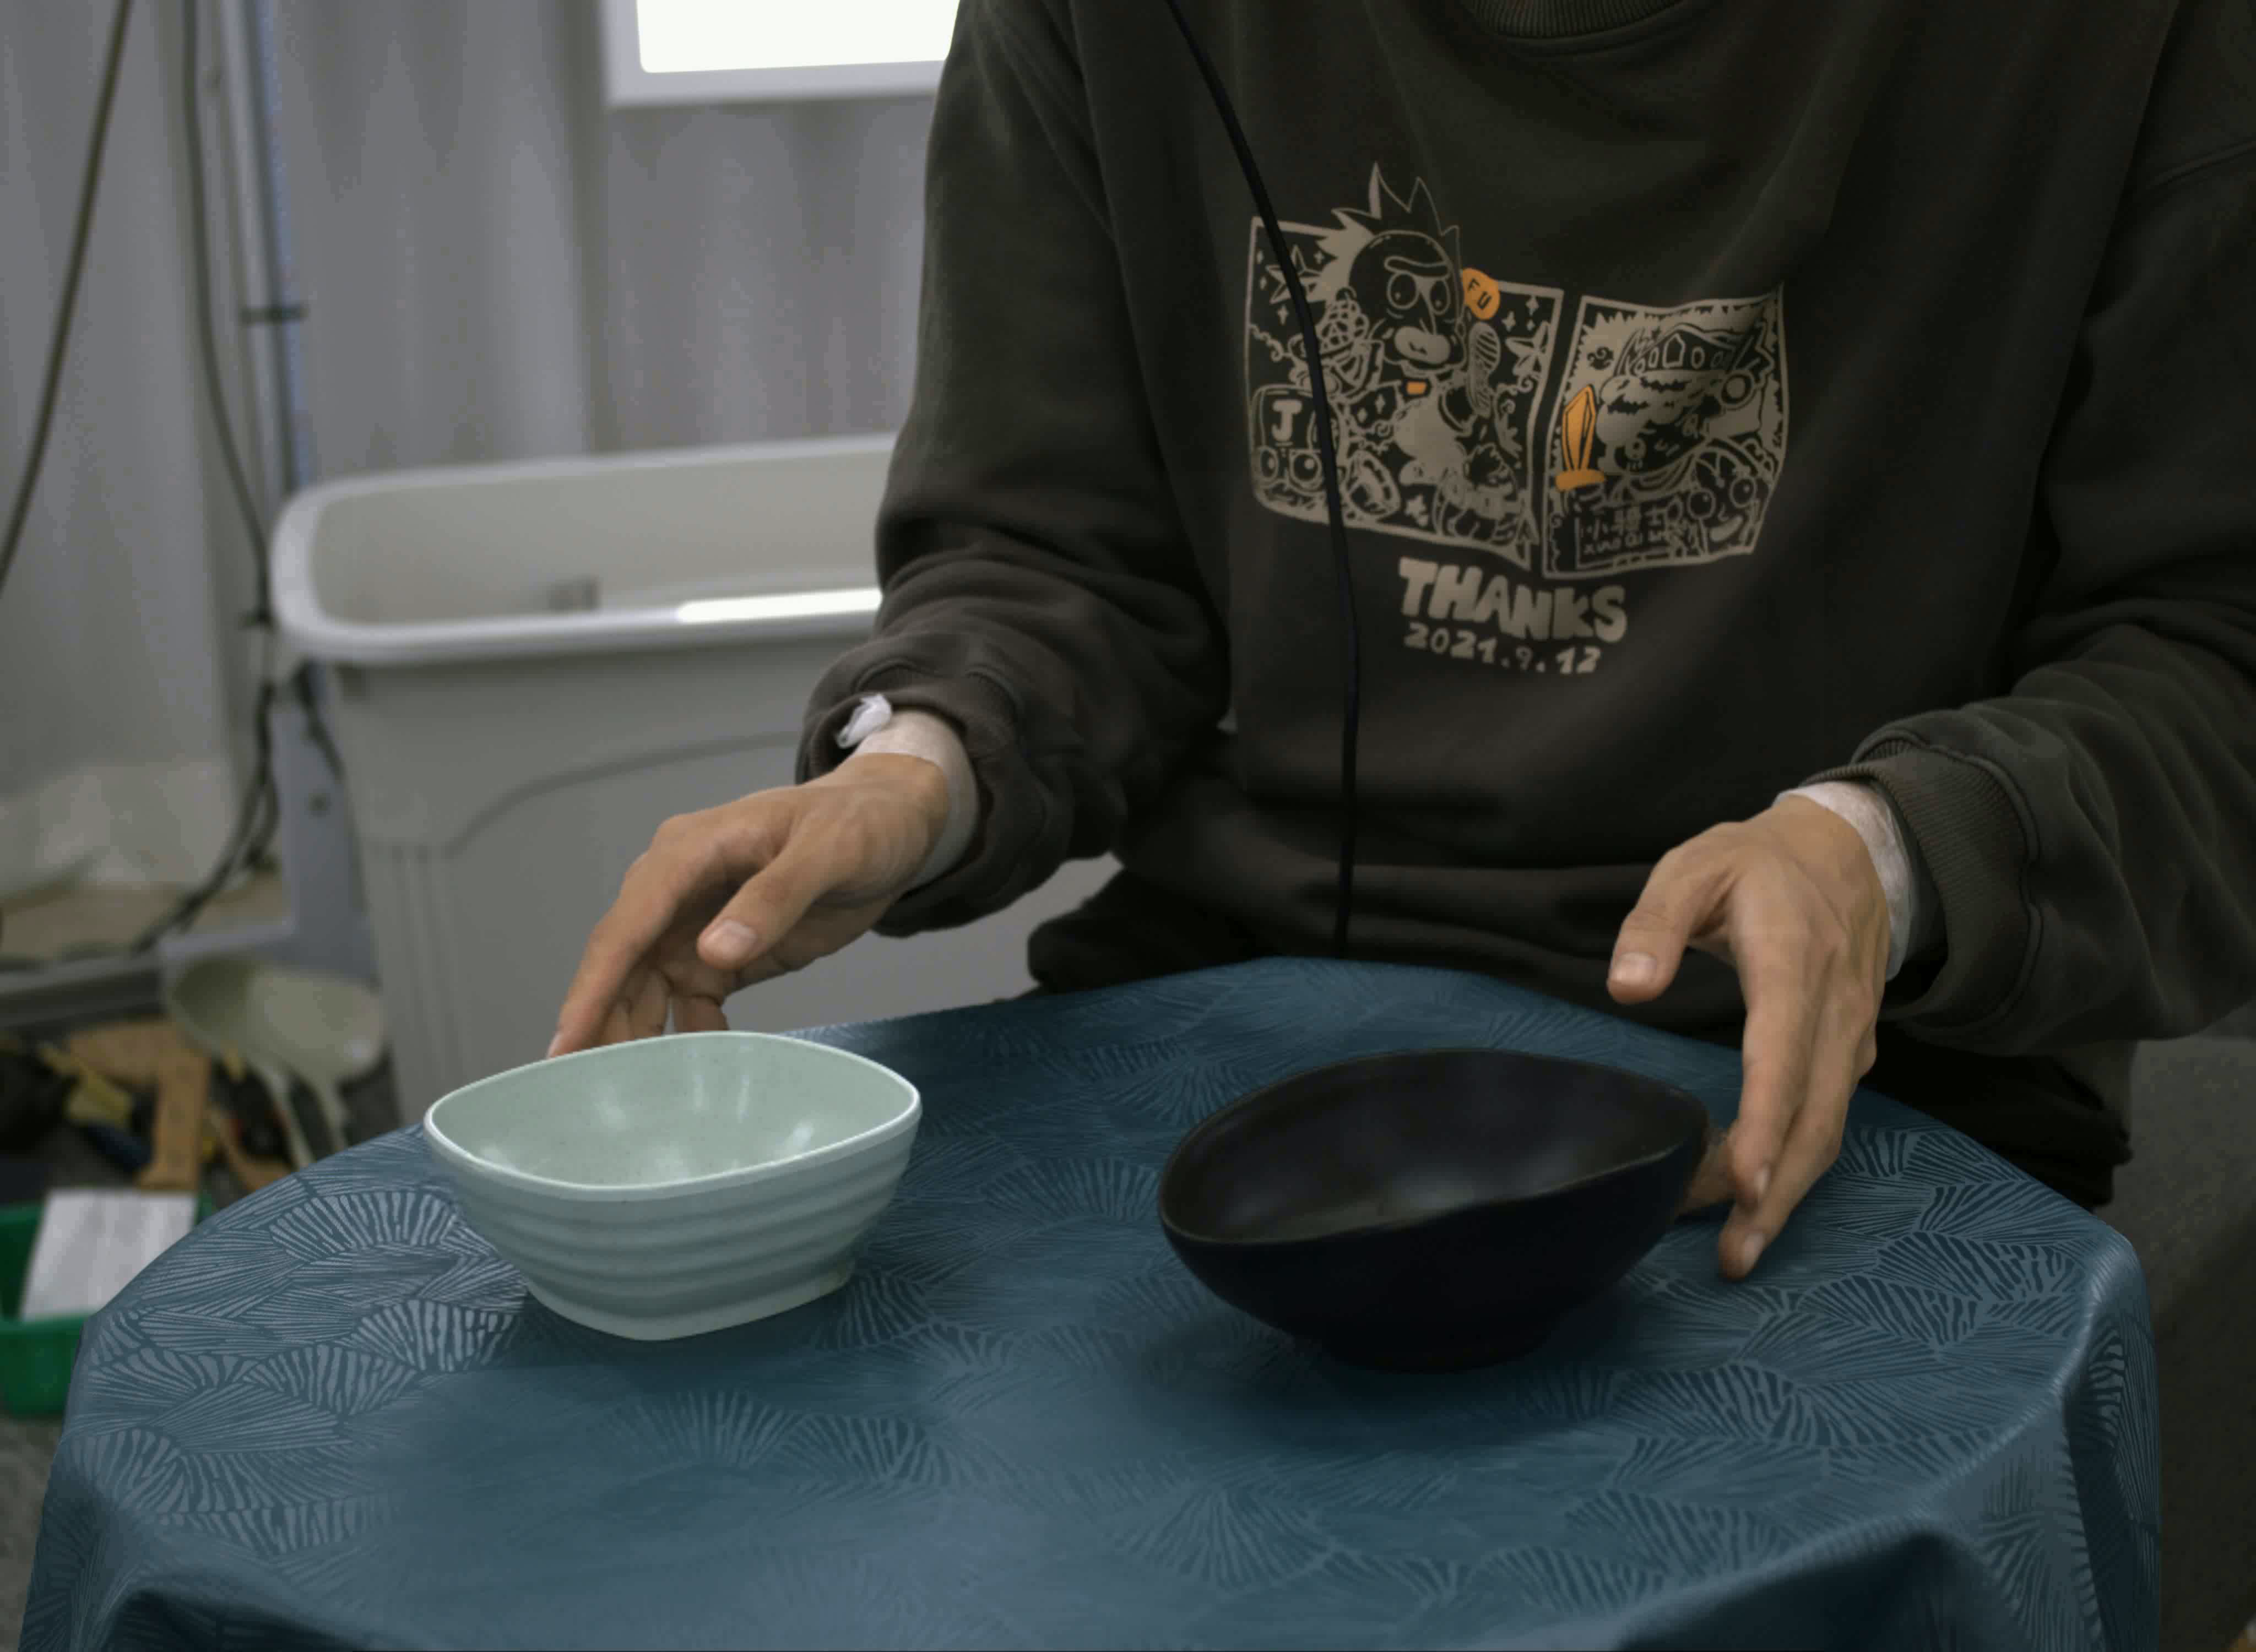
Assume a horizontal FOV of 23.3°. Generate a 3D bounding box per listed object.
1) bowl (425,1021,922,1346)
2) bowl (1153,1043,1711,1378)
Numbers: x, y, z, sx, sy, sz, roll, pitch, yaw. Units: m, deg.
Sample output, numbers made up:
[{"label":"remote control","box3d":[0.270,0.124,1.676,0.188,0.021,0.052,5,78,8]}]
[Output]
[{"label":"bowl","box3d":[-0.136,0.111,1.651,0.151,0.058,0.152,-2,17,0]},{"label":"bowl","box3d":[0.090,0.117,1.576,0.170,0.066,0.138,-14,18,-30]}]
